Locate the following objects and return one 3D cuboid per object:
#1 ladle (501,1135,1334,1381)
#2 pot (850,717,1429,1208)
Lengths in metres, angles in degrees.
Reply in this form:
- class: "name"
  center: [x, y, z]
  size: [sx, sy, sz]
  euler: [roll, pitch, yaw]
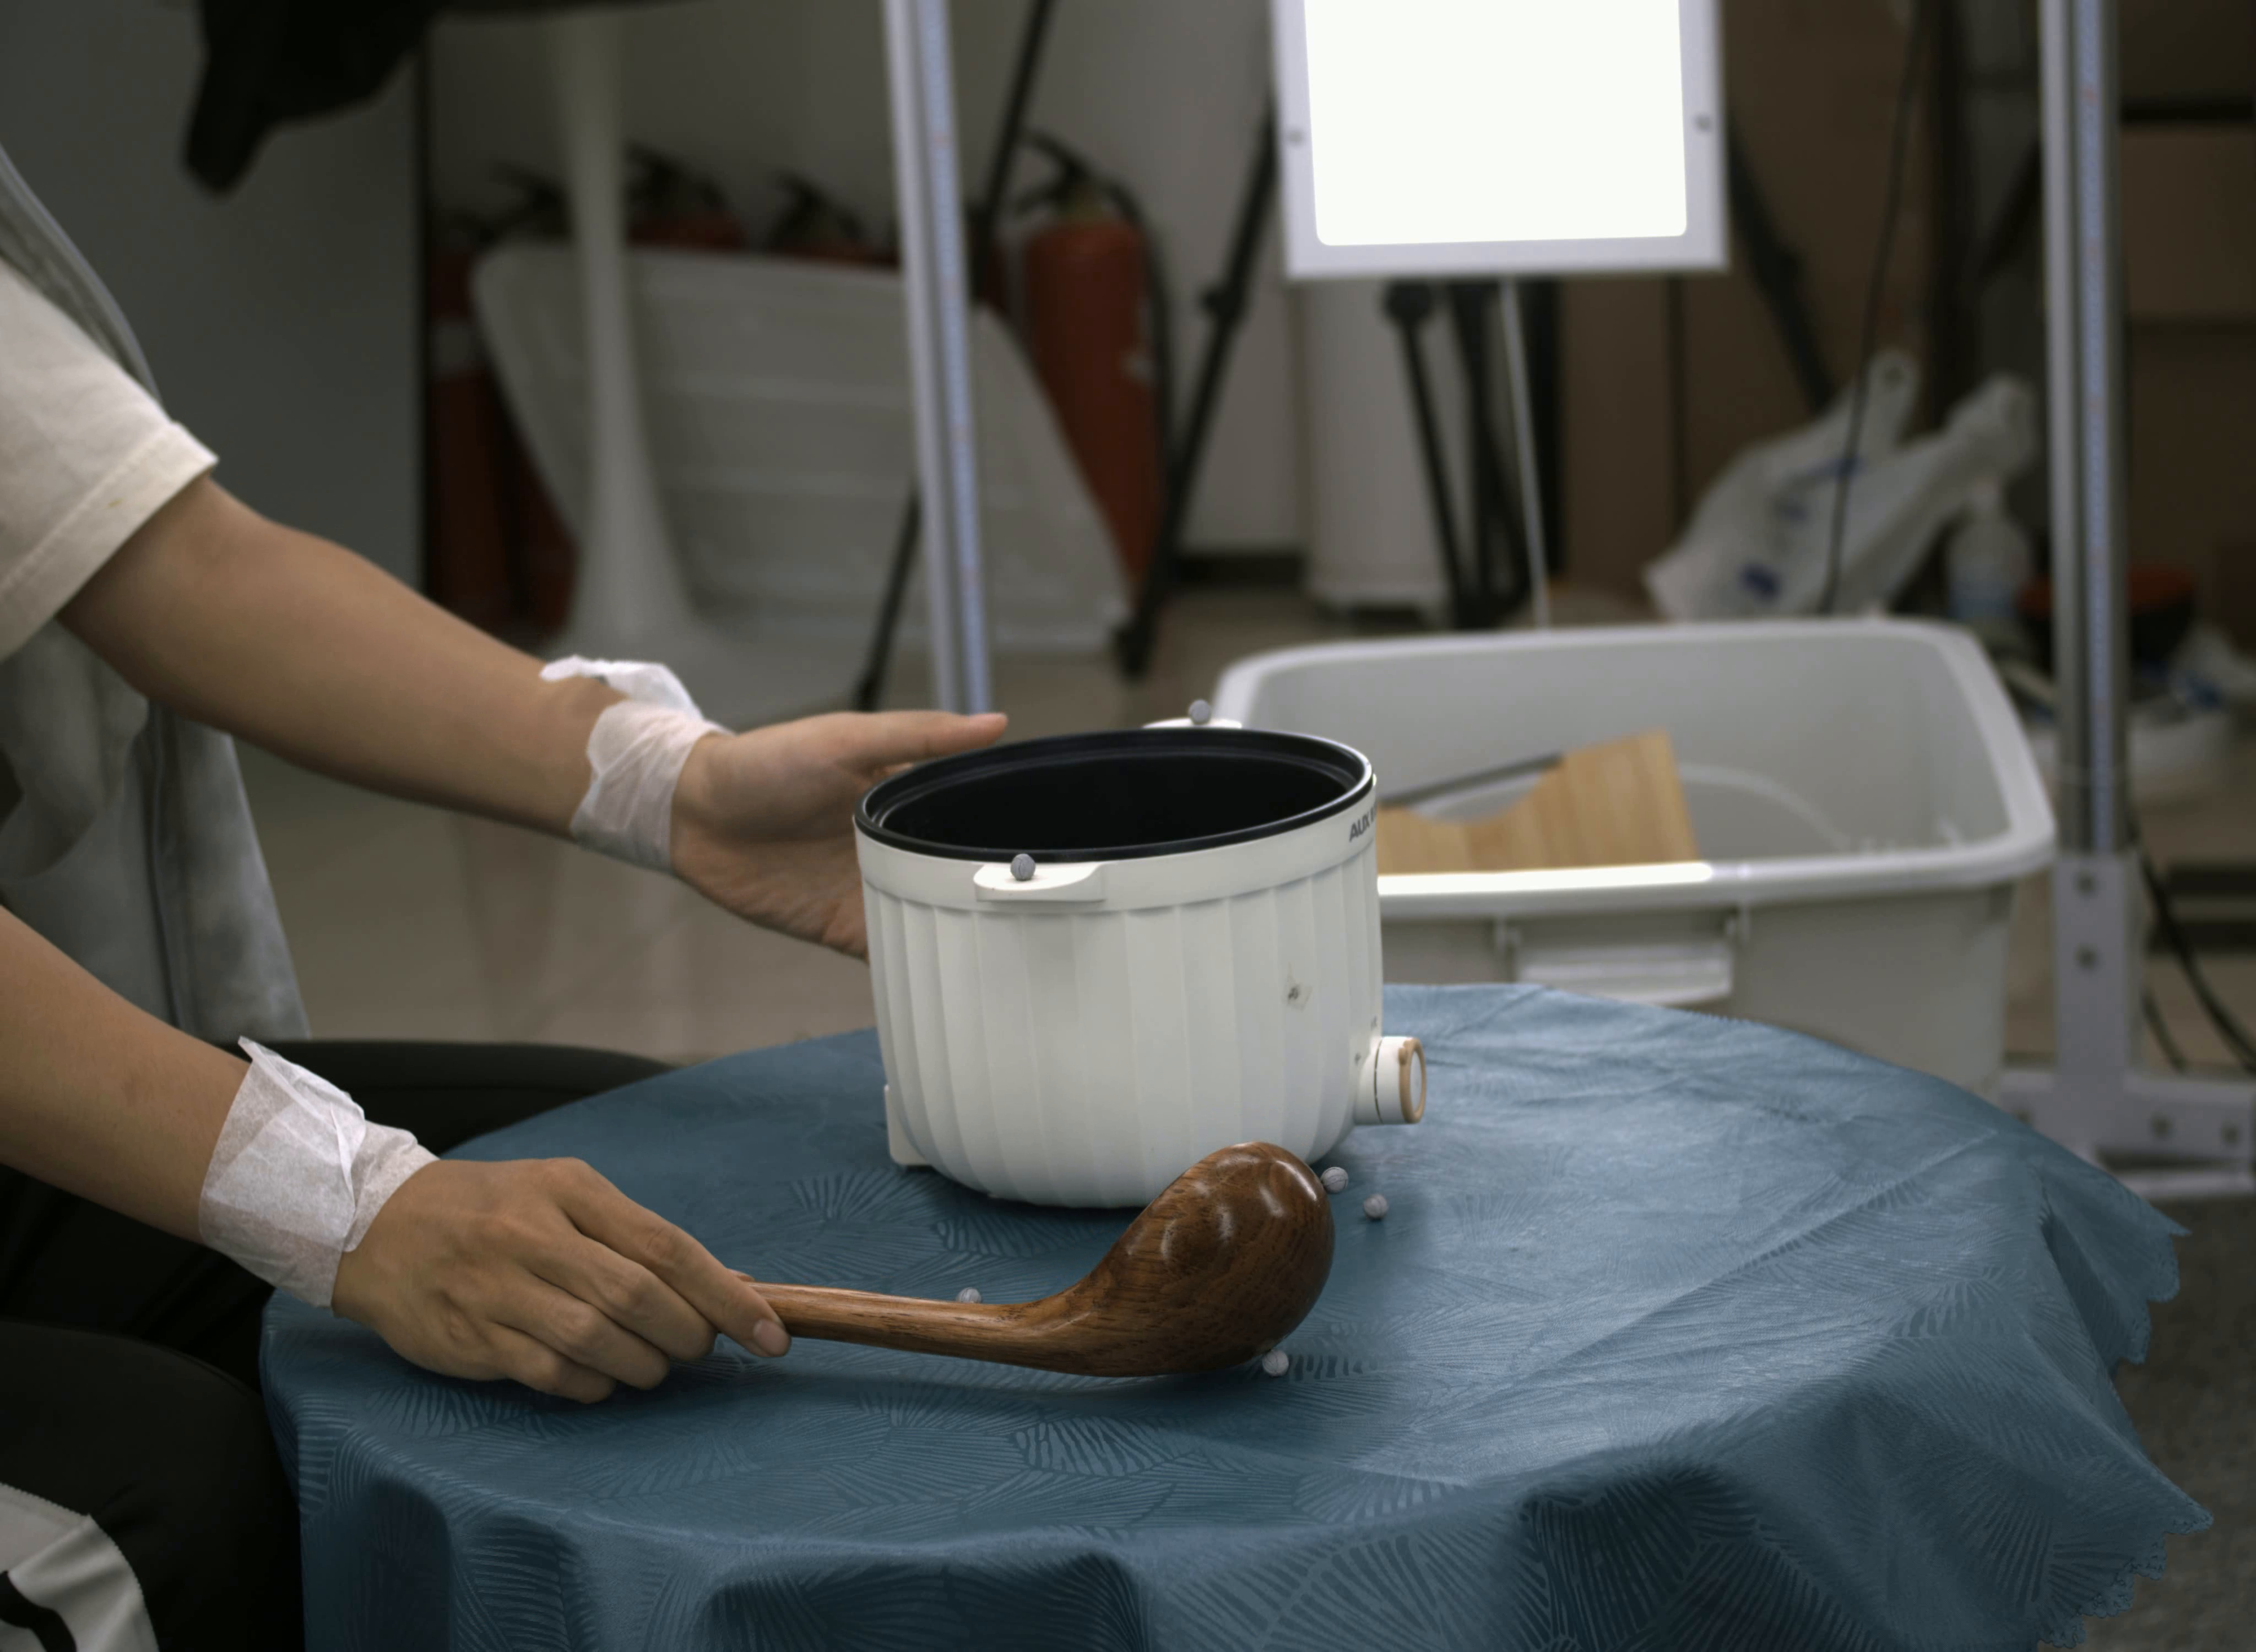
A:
- class: "ladle"
  center: [-0.068, 0.135, 1.736]
  size: [0.278, 0.081, 0.076]
  euler: [0, 51, 26]
- class: "pot"
  center: [0.005, 0.050, 1.916]
  size: [0.193, 0.143, 0.237]
  euler: [-4, 14, 17]
